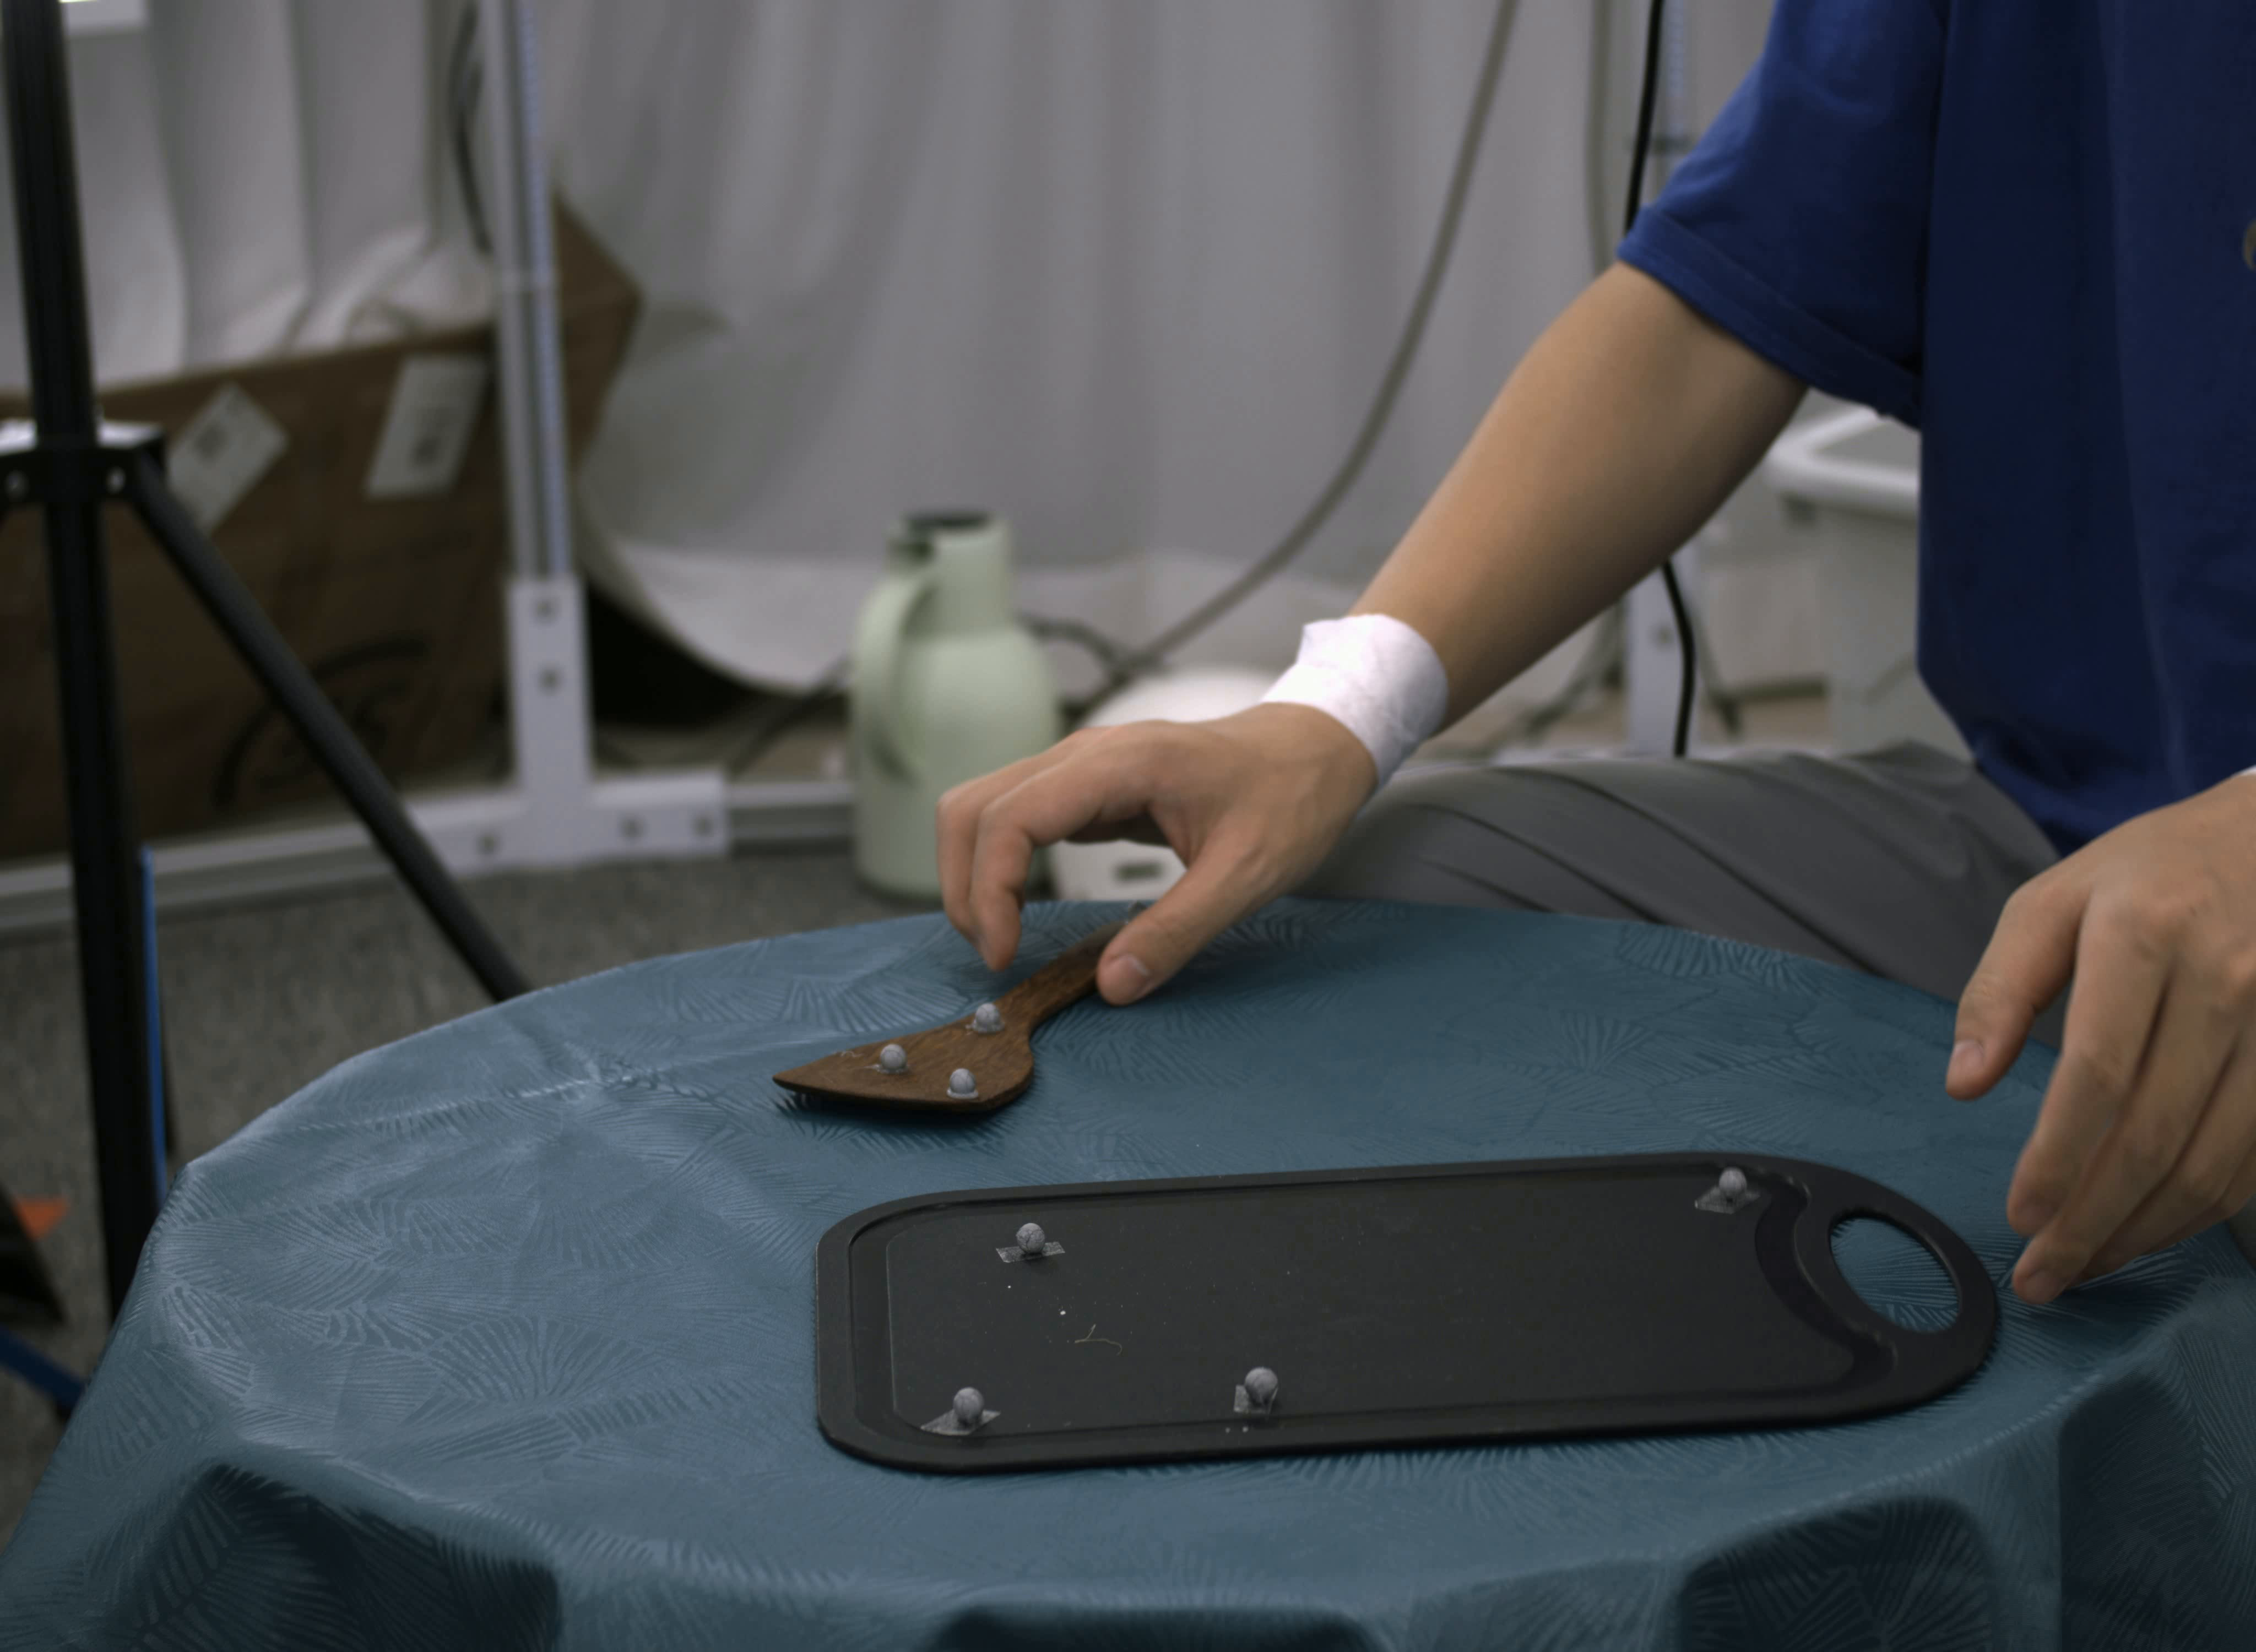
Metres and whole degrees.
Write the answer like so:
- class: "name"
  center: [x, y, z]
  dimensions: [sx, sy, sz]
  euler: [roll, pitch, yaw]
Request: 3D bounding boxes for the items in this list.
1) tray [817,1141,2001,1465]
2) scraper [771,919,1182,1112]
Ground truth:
- class: "tray"
  center: [0.077, 0.127, 1.457]
  dimensions: [0.324, 0.010, 0.212]
  euler: [-4, 16, -1]
- class: "scraper"
  center: [-0.036, 0.060, 1.717]
  dimensions: [0.077, 0.011, 0.208]
  euler: [6, 17, 26]
